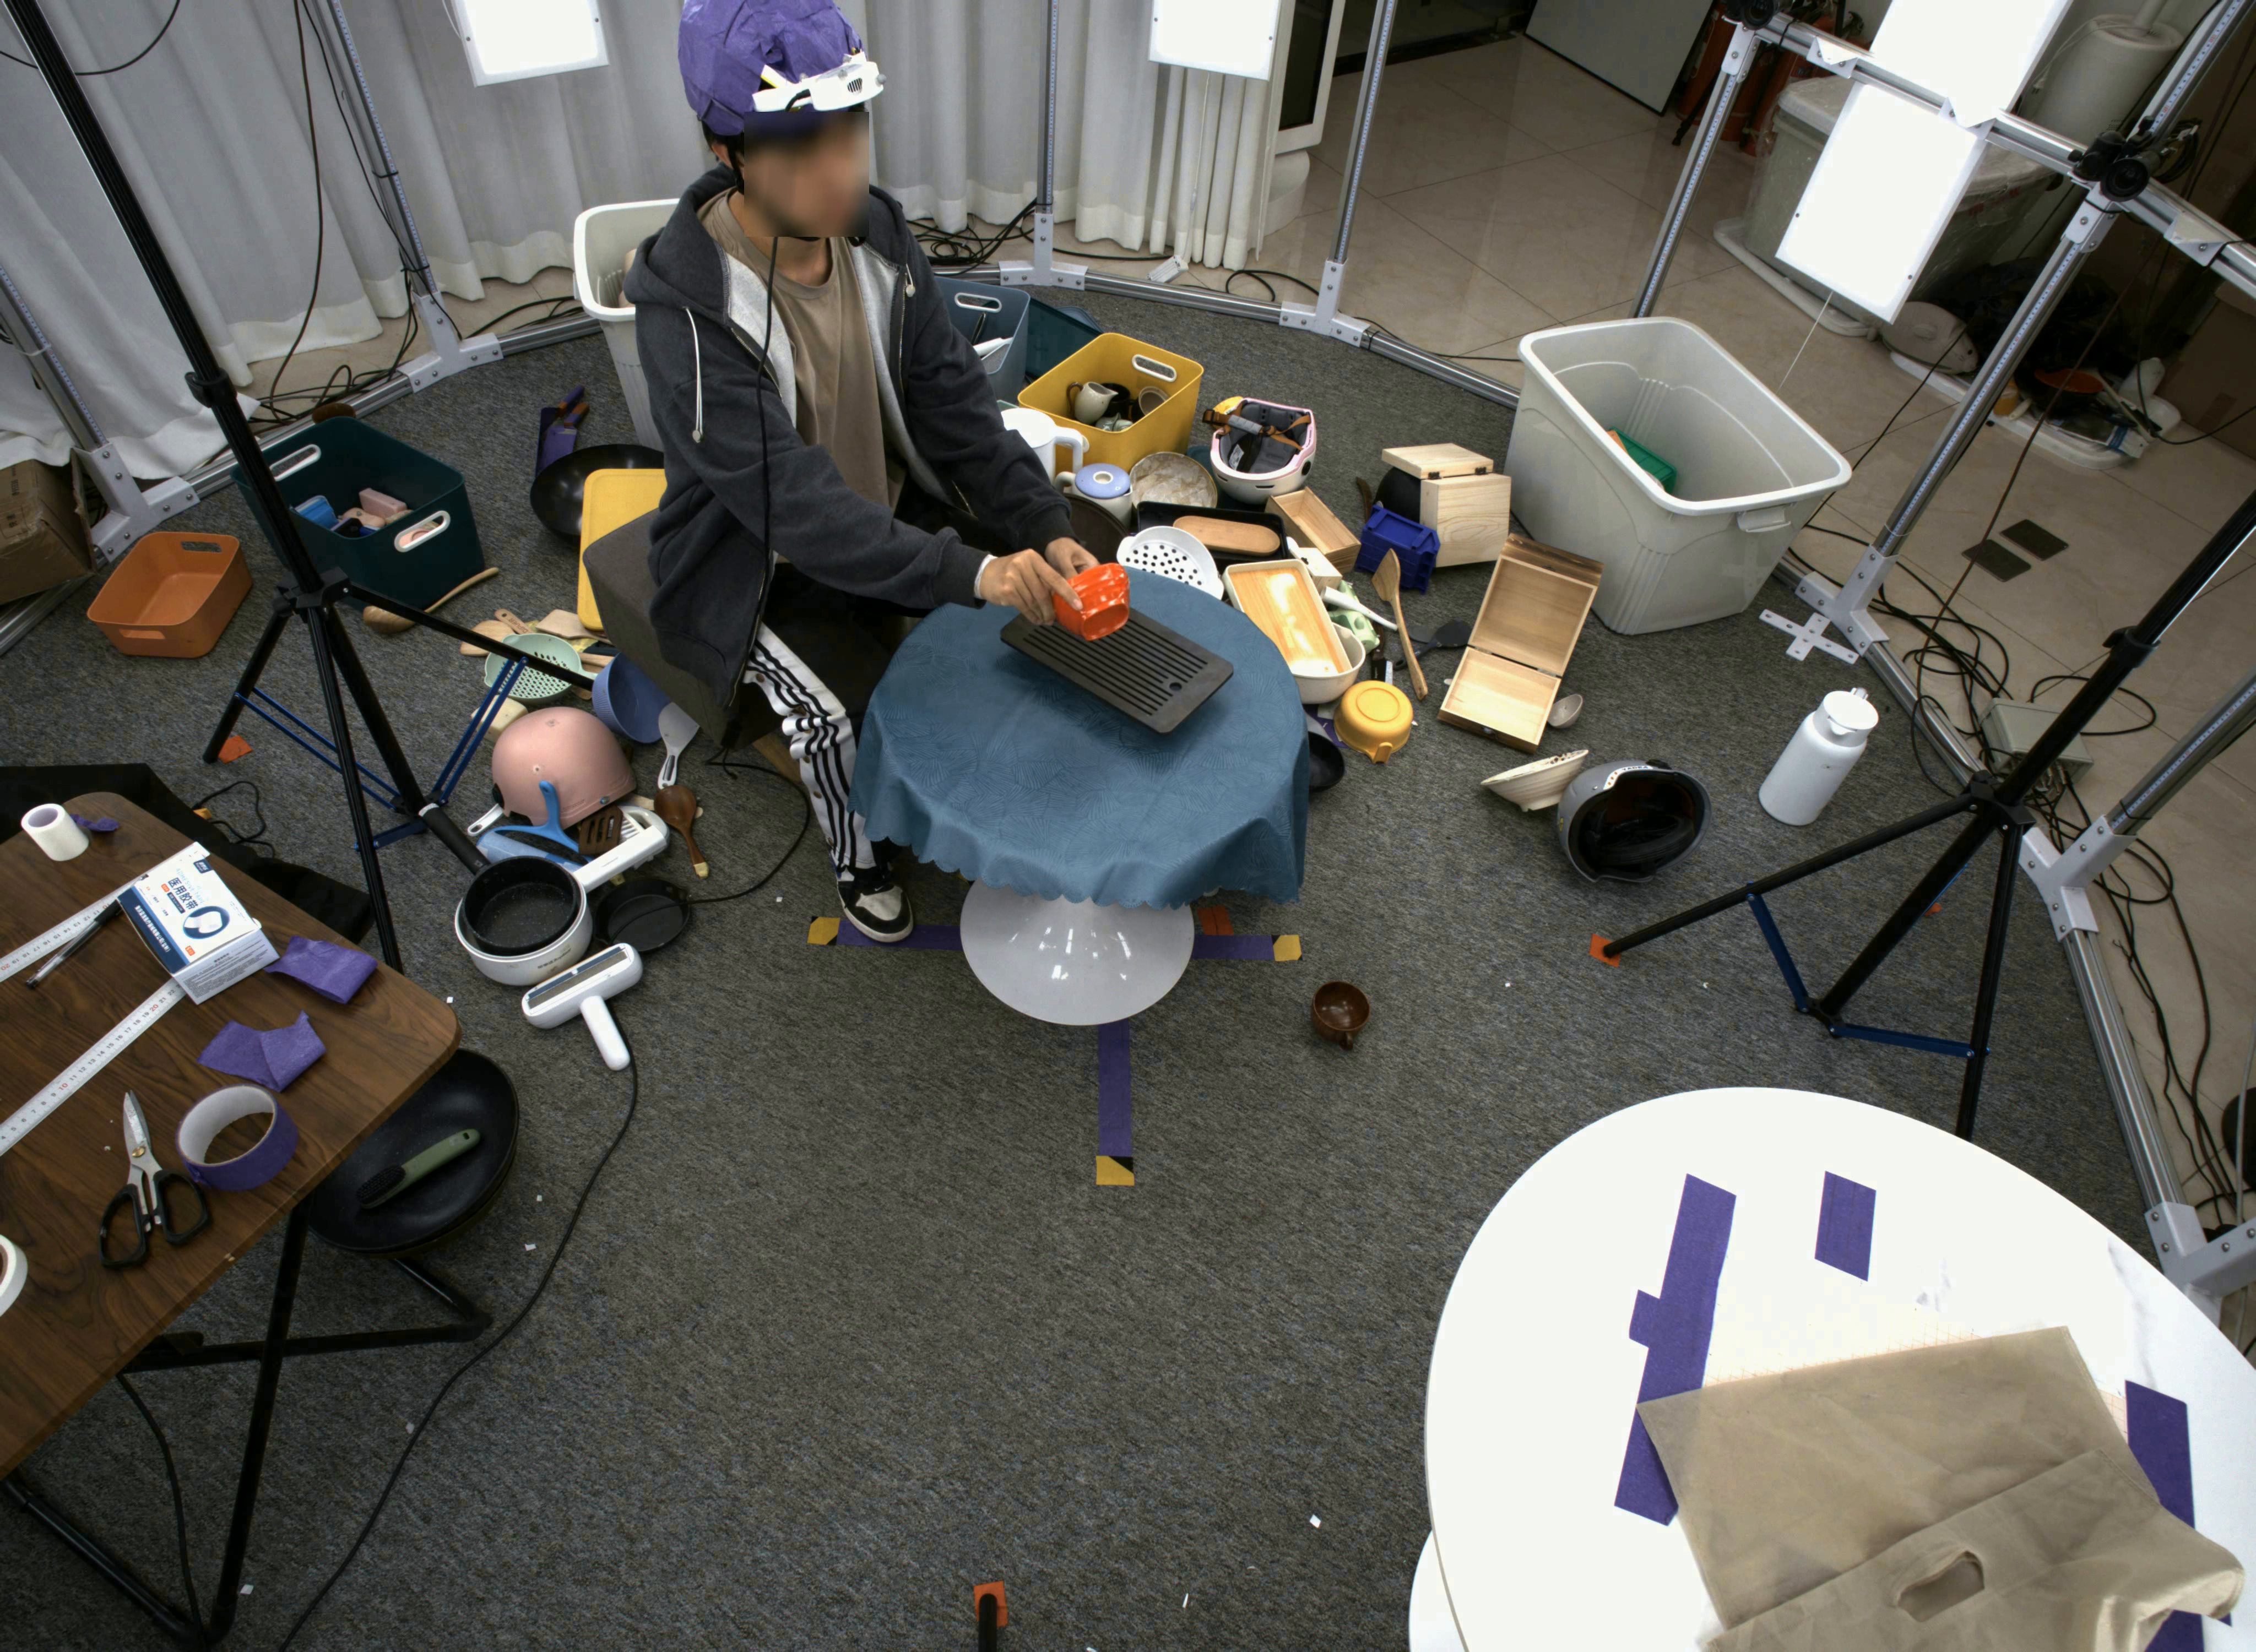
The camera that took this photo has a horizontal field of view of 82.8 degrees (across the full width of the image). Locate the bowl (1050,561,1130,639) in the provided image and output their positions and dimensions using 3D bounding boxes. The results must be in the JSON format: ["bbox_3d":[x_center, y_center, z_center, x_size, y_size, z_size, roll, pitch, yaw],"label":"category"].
[{"bbox_3d":[-0.041,-0.284,1.662,0.119,0.117,0.052,-19,69,-20],"label":"bowl"}]

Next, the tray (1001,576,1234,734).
[{"bbox_3d":[-0.017,-0.246,1.826,0.309,0.018,0.172,32,57,23],"label":"tray"}]
